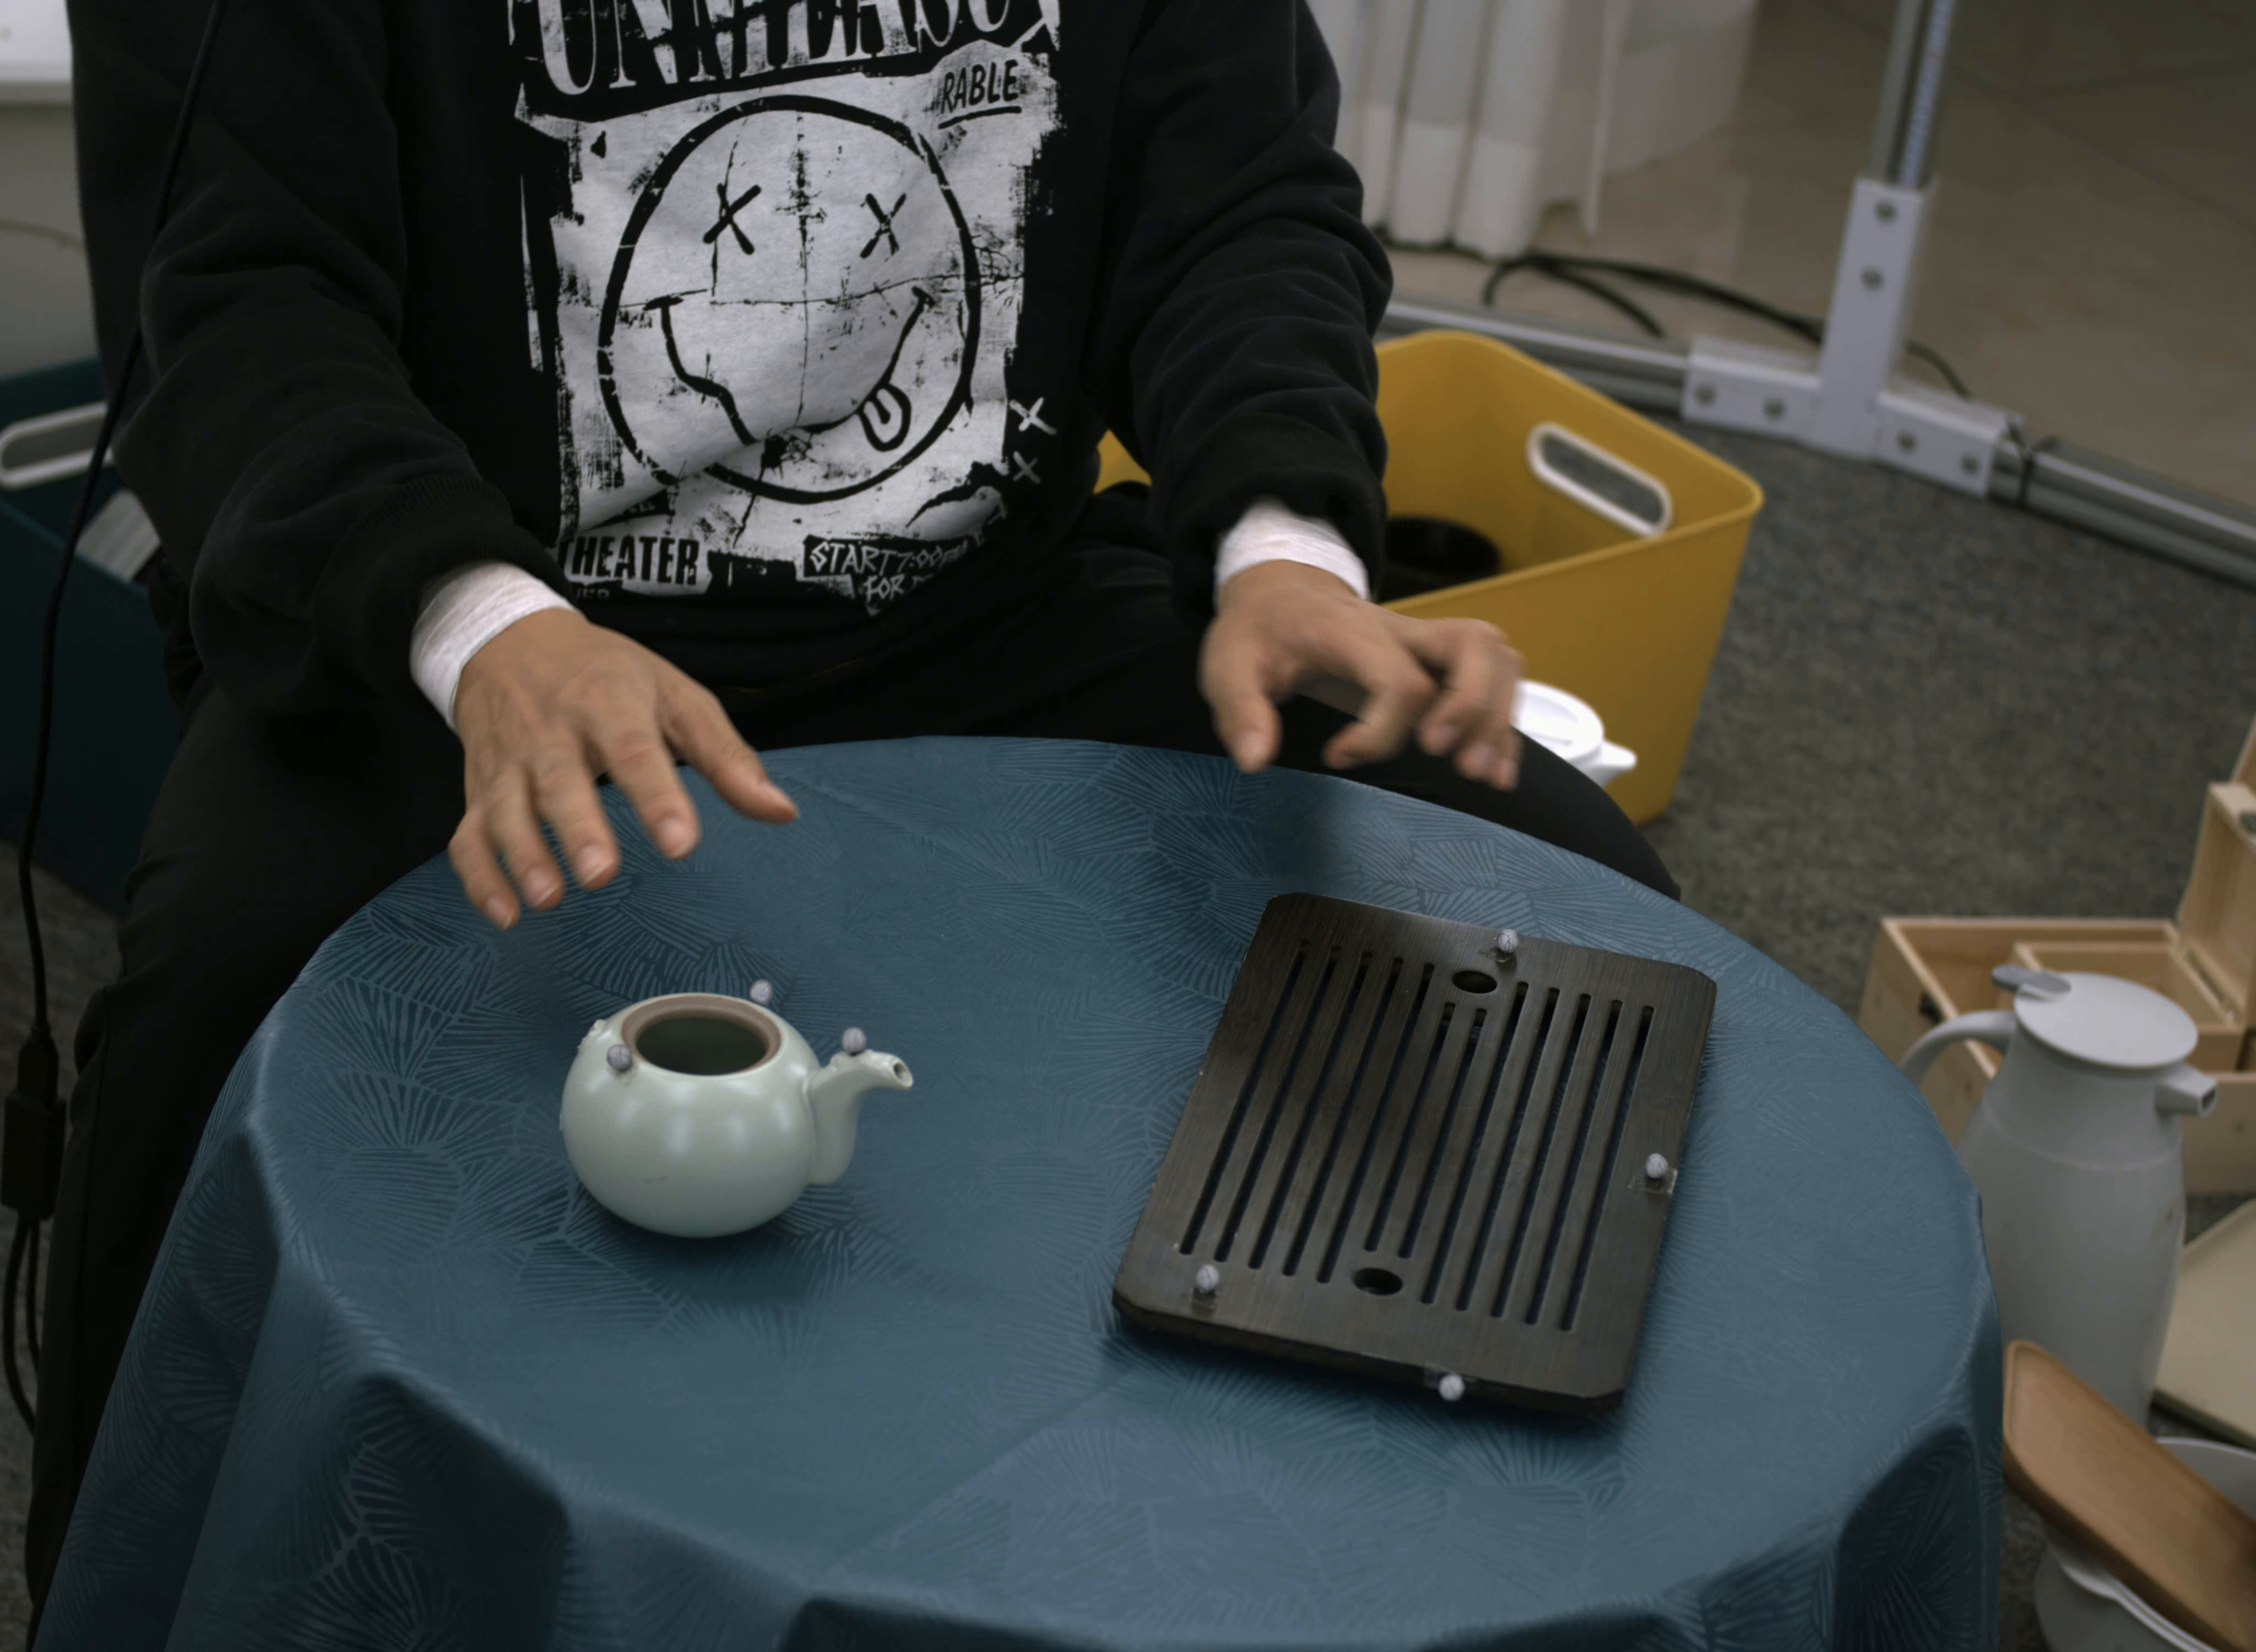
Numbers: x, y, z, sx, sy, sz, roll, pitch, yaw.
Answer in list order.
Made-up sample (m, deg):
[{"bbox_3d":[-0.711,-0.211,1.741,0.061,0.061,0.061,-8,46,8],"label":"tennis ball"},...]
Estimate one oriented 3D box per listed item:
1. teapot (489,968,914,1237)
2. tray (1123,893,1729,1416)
[{"bbox_3d":[-0.142,0.093,1.752,0.144,0.074,0.088,14,28,11],"label":"teapot"},{"bbox_3d":[0.109,0.110,1.836,0.170,0.018,0.307,10,27,8],"label":"tray"}]
